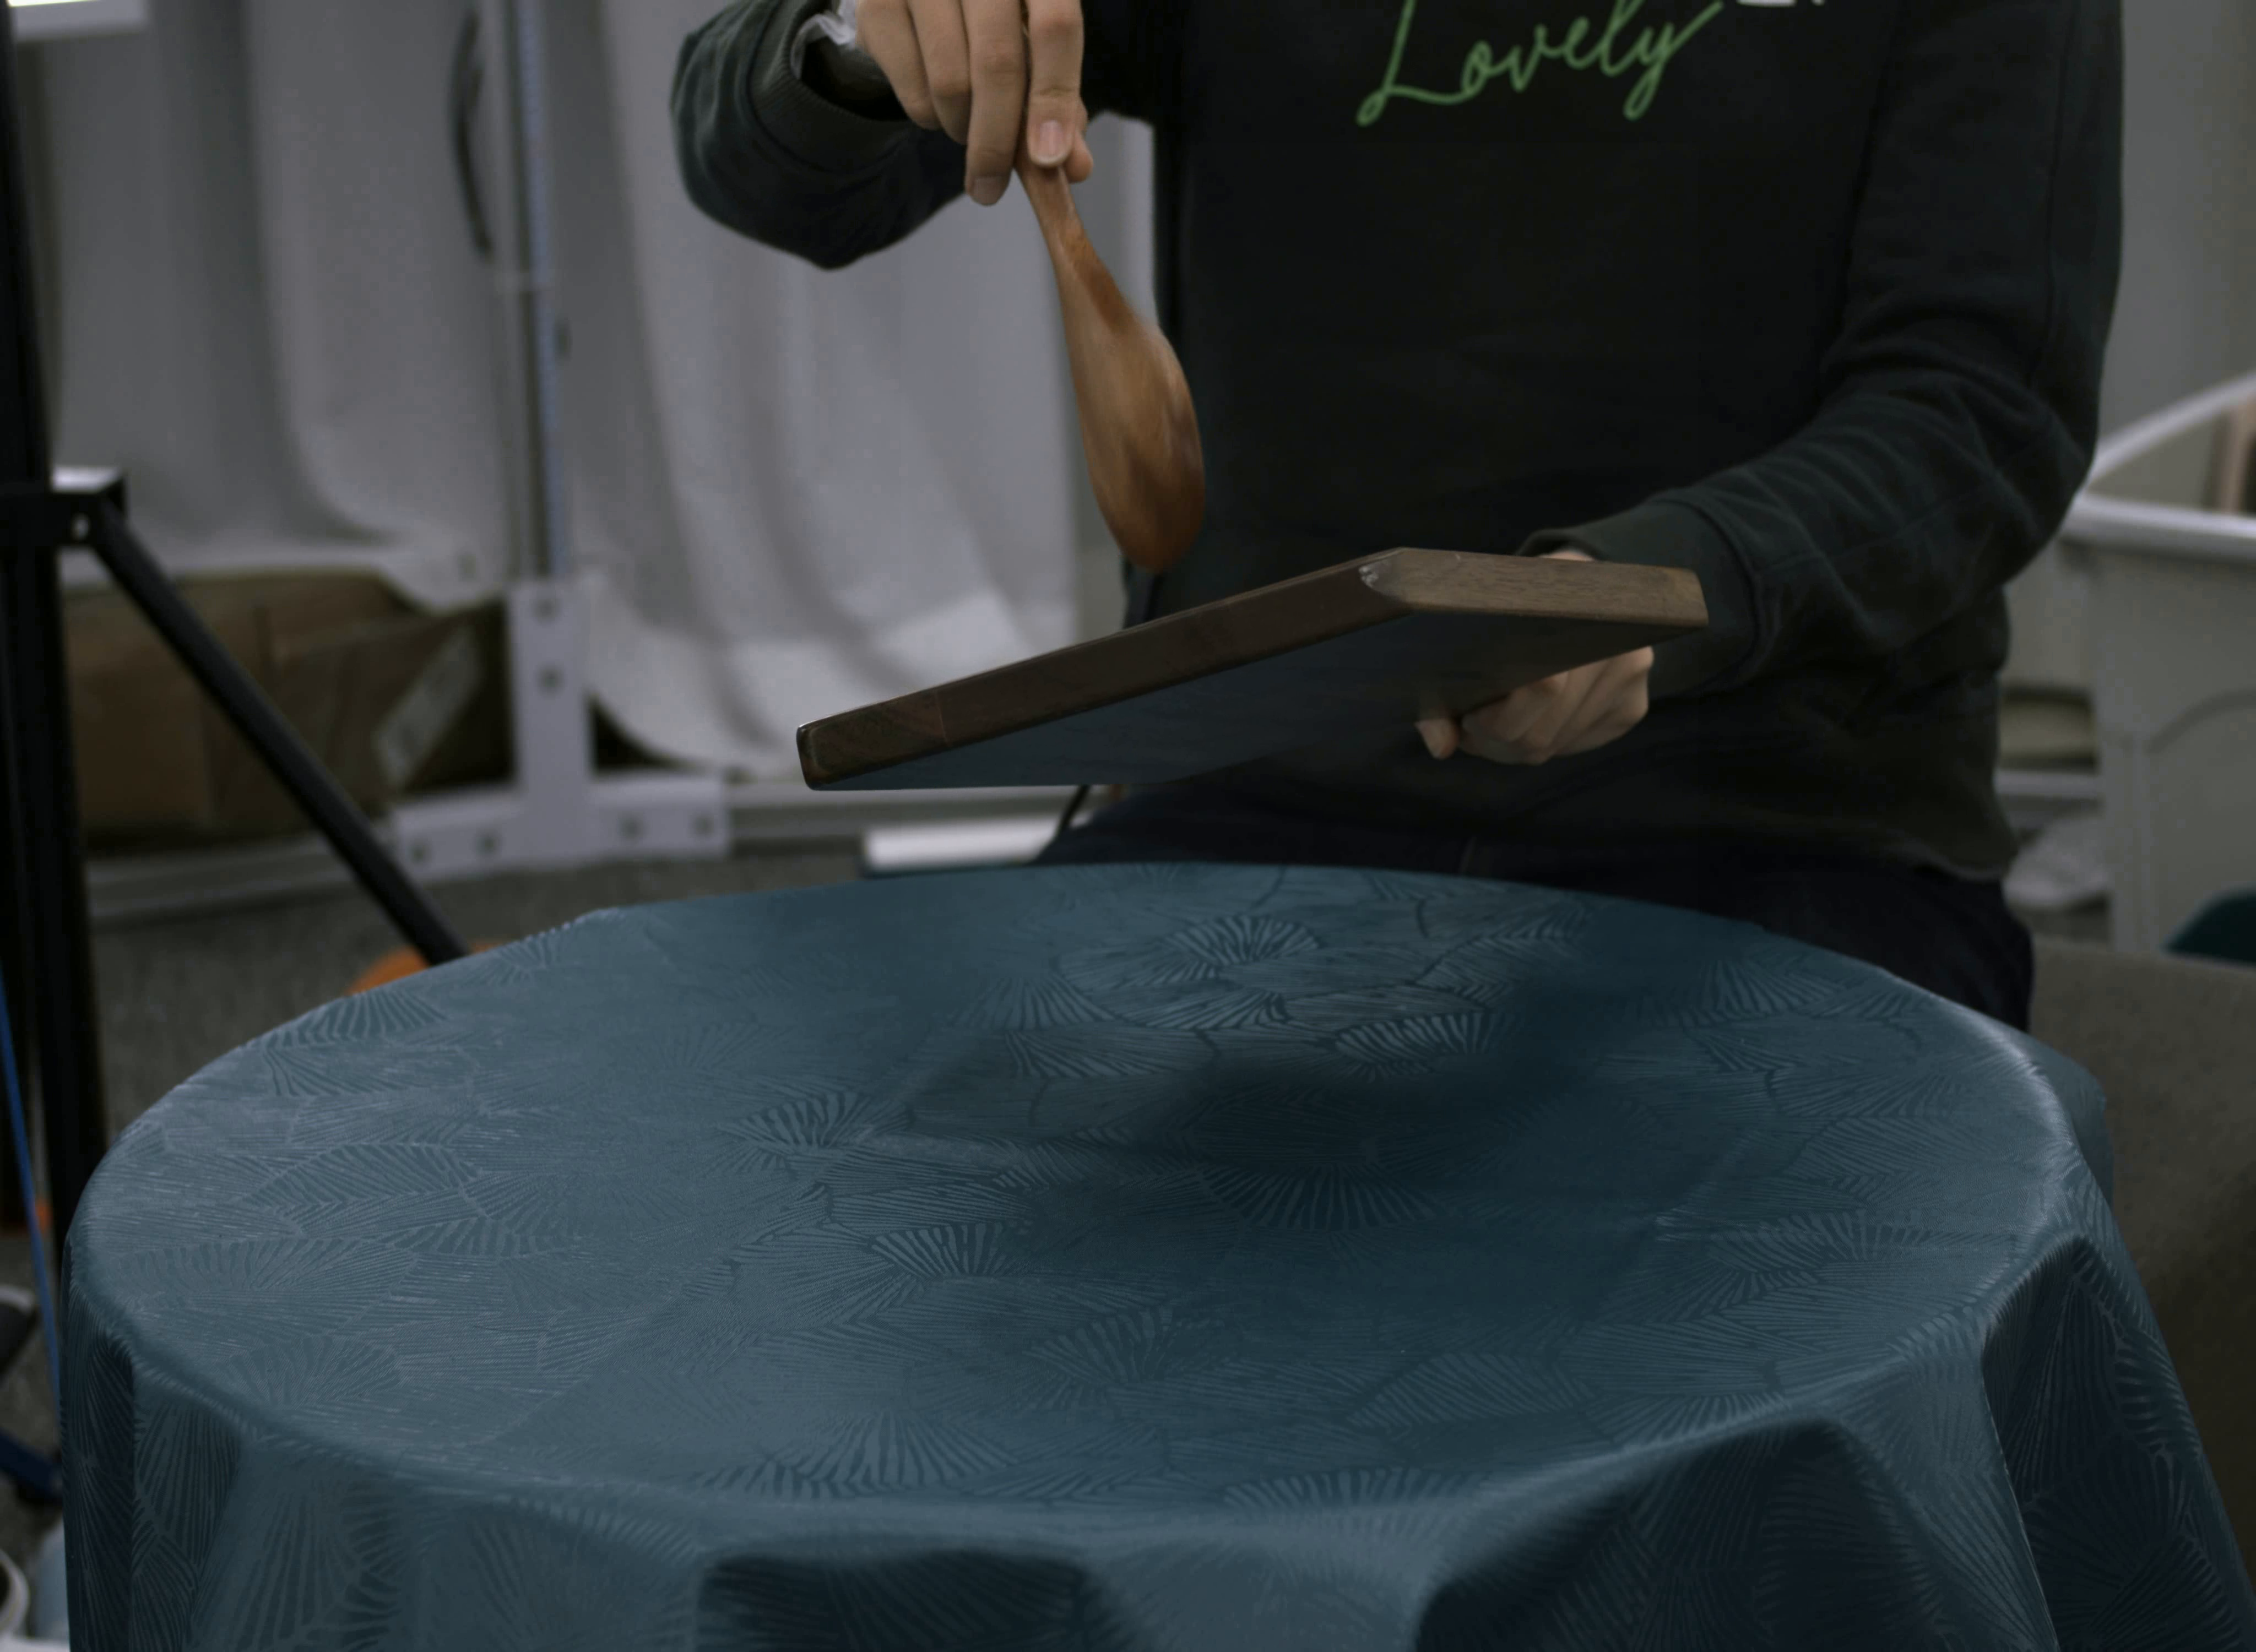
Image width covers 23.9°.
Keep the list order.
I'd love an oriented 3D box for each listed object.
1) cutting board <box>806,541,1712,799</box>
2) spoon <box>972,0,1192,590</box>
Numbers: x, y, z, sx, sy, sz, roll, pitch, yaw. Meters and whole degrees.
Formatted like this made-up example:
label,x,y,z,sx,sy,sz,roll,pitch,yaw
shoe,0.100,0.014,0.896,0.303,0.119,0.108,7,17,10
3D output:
label,x,y,z,sx,sy,sz,roll,pitch,yaw
cutting board,0.064,-0.043,1.607,0.203,0.023,0.345,-17,-6,25
spoon,-0.016,-0.167,1.628,0.017,0.075,0.219,-8,61,-15
